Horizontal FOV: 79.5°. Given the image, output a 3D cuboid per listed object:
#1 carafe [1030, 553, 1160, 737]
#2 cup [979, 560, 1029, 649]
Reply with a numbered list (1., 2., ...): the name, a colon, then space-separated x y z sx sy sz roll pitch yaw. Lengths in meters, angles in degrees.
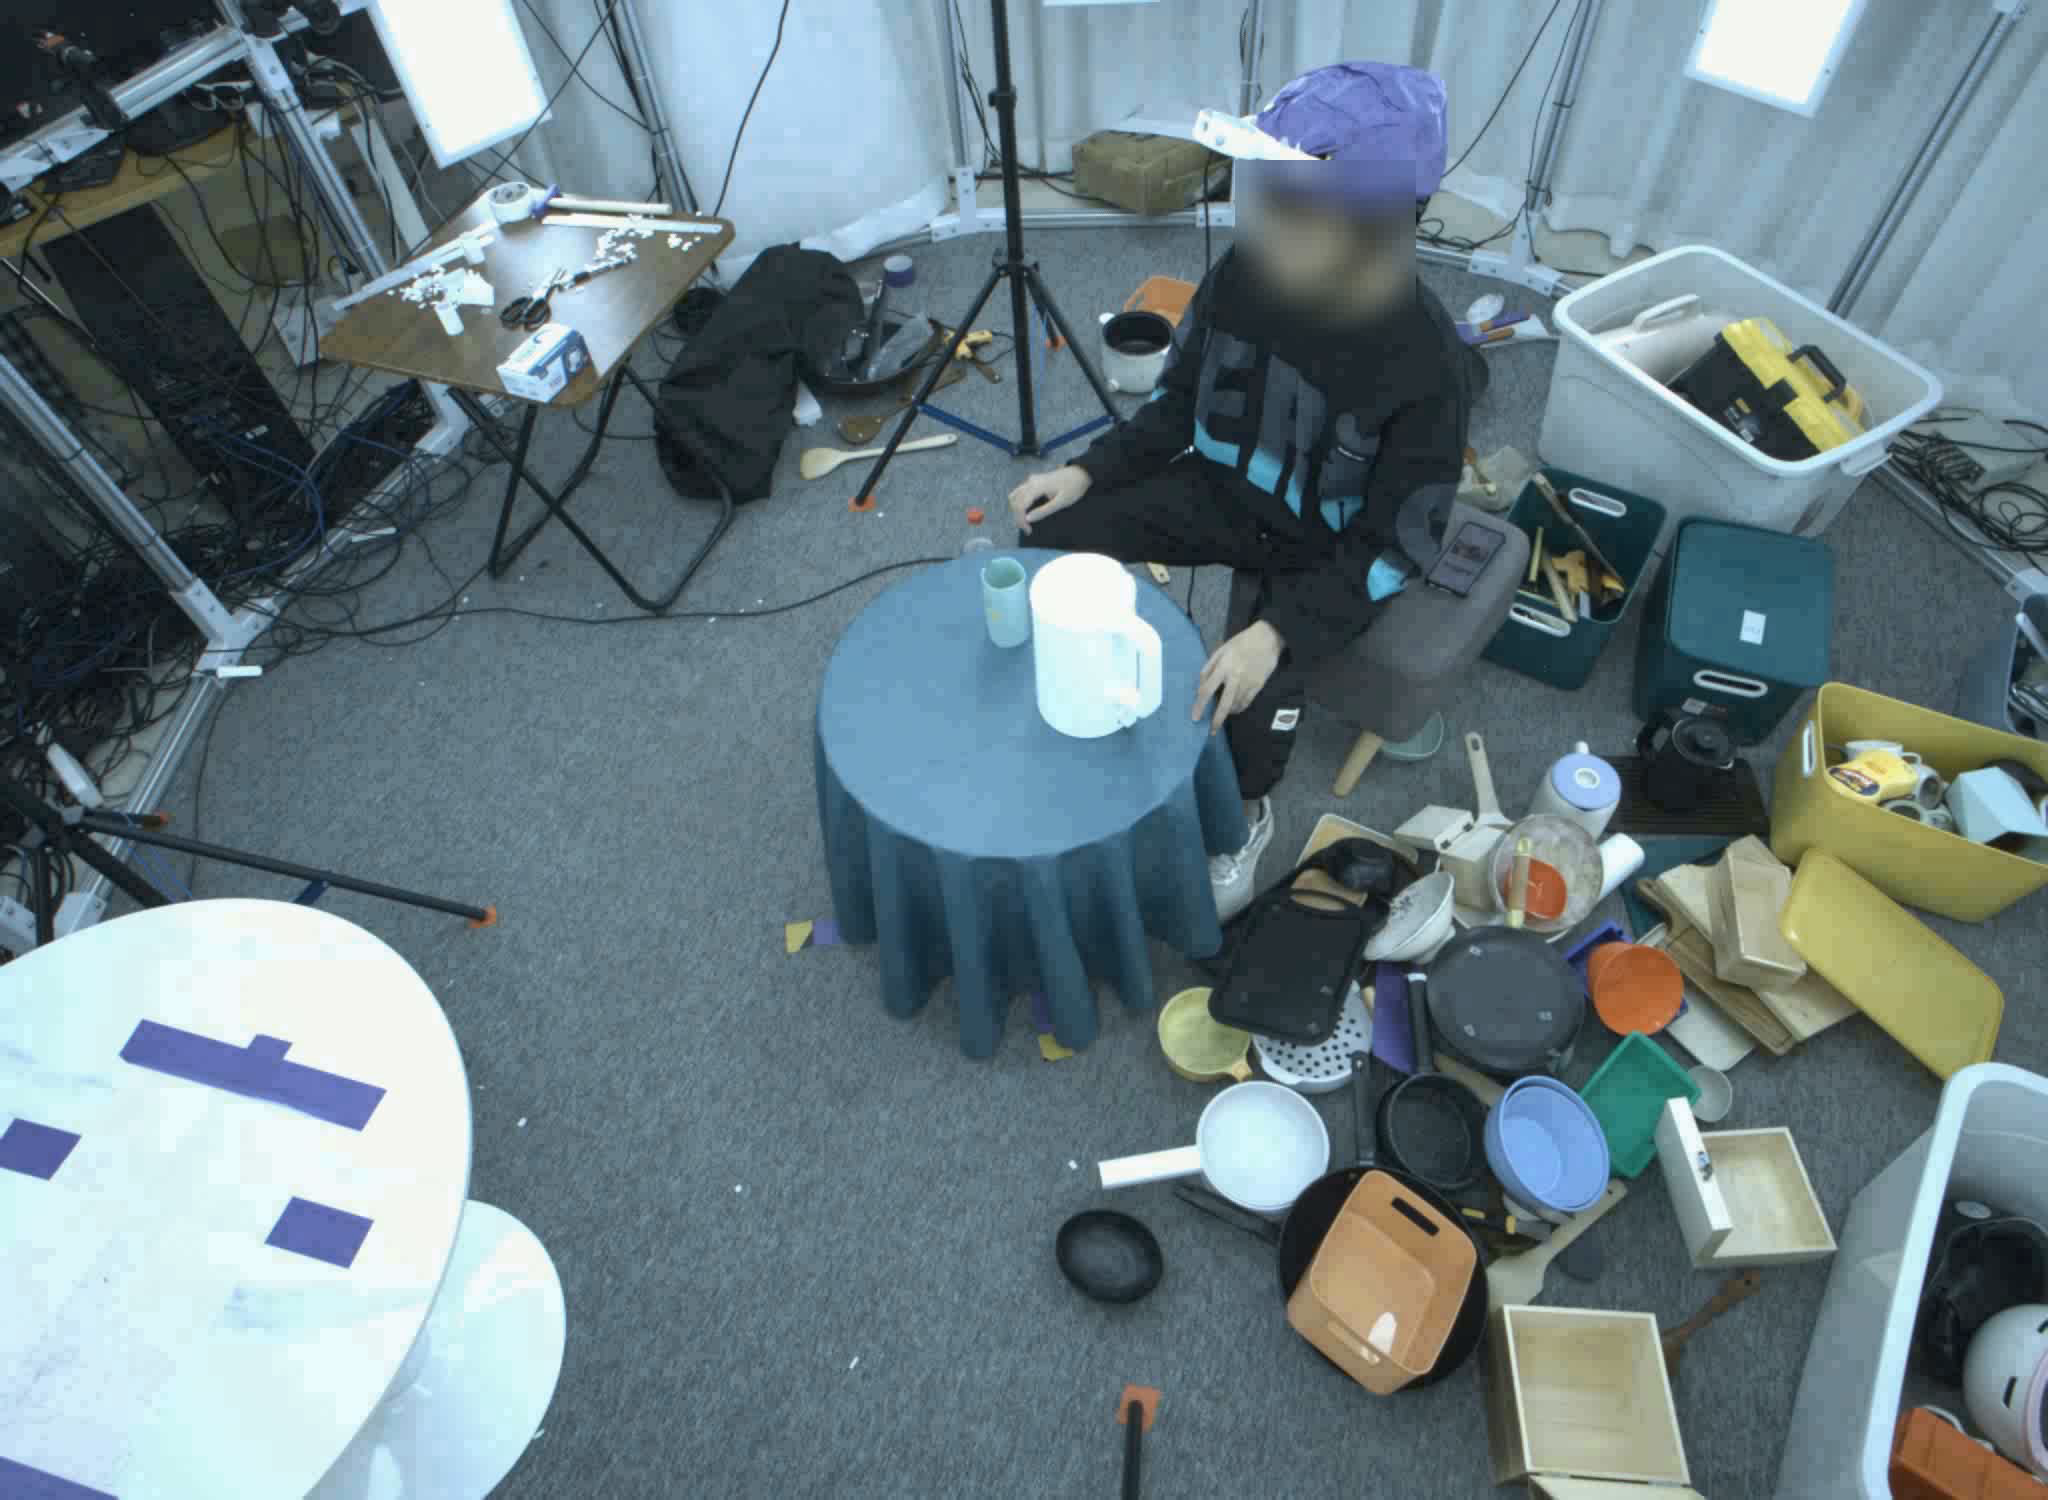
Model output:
1. carafe: 0.103 -0.131 1.729 0.153 0.243 0.209 -40 61 -21
2. cup: -0.028 -0.220 1.864 0.066 0.134 0.066 -2 54 4
